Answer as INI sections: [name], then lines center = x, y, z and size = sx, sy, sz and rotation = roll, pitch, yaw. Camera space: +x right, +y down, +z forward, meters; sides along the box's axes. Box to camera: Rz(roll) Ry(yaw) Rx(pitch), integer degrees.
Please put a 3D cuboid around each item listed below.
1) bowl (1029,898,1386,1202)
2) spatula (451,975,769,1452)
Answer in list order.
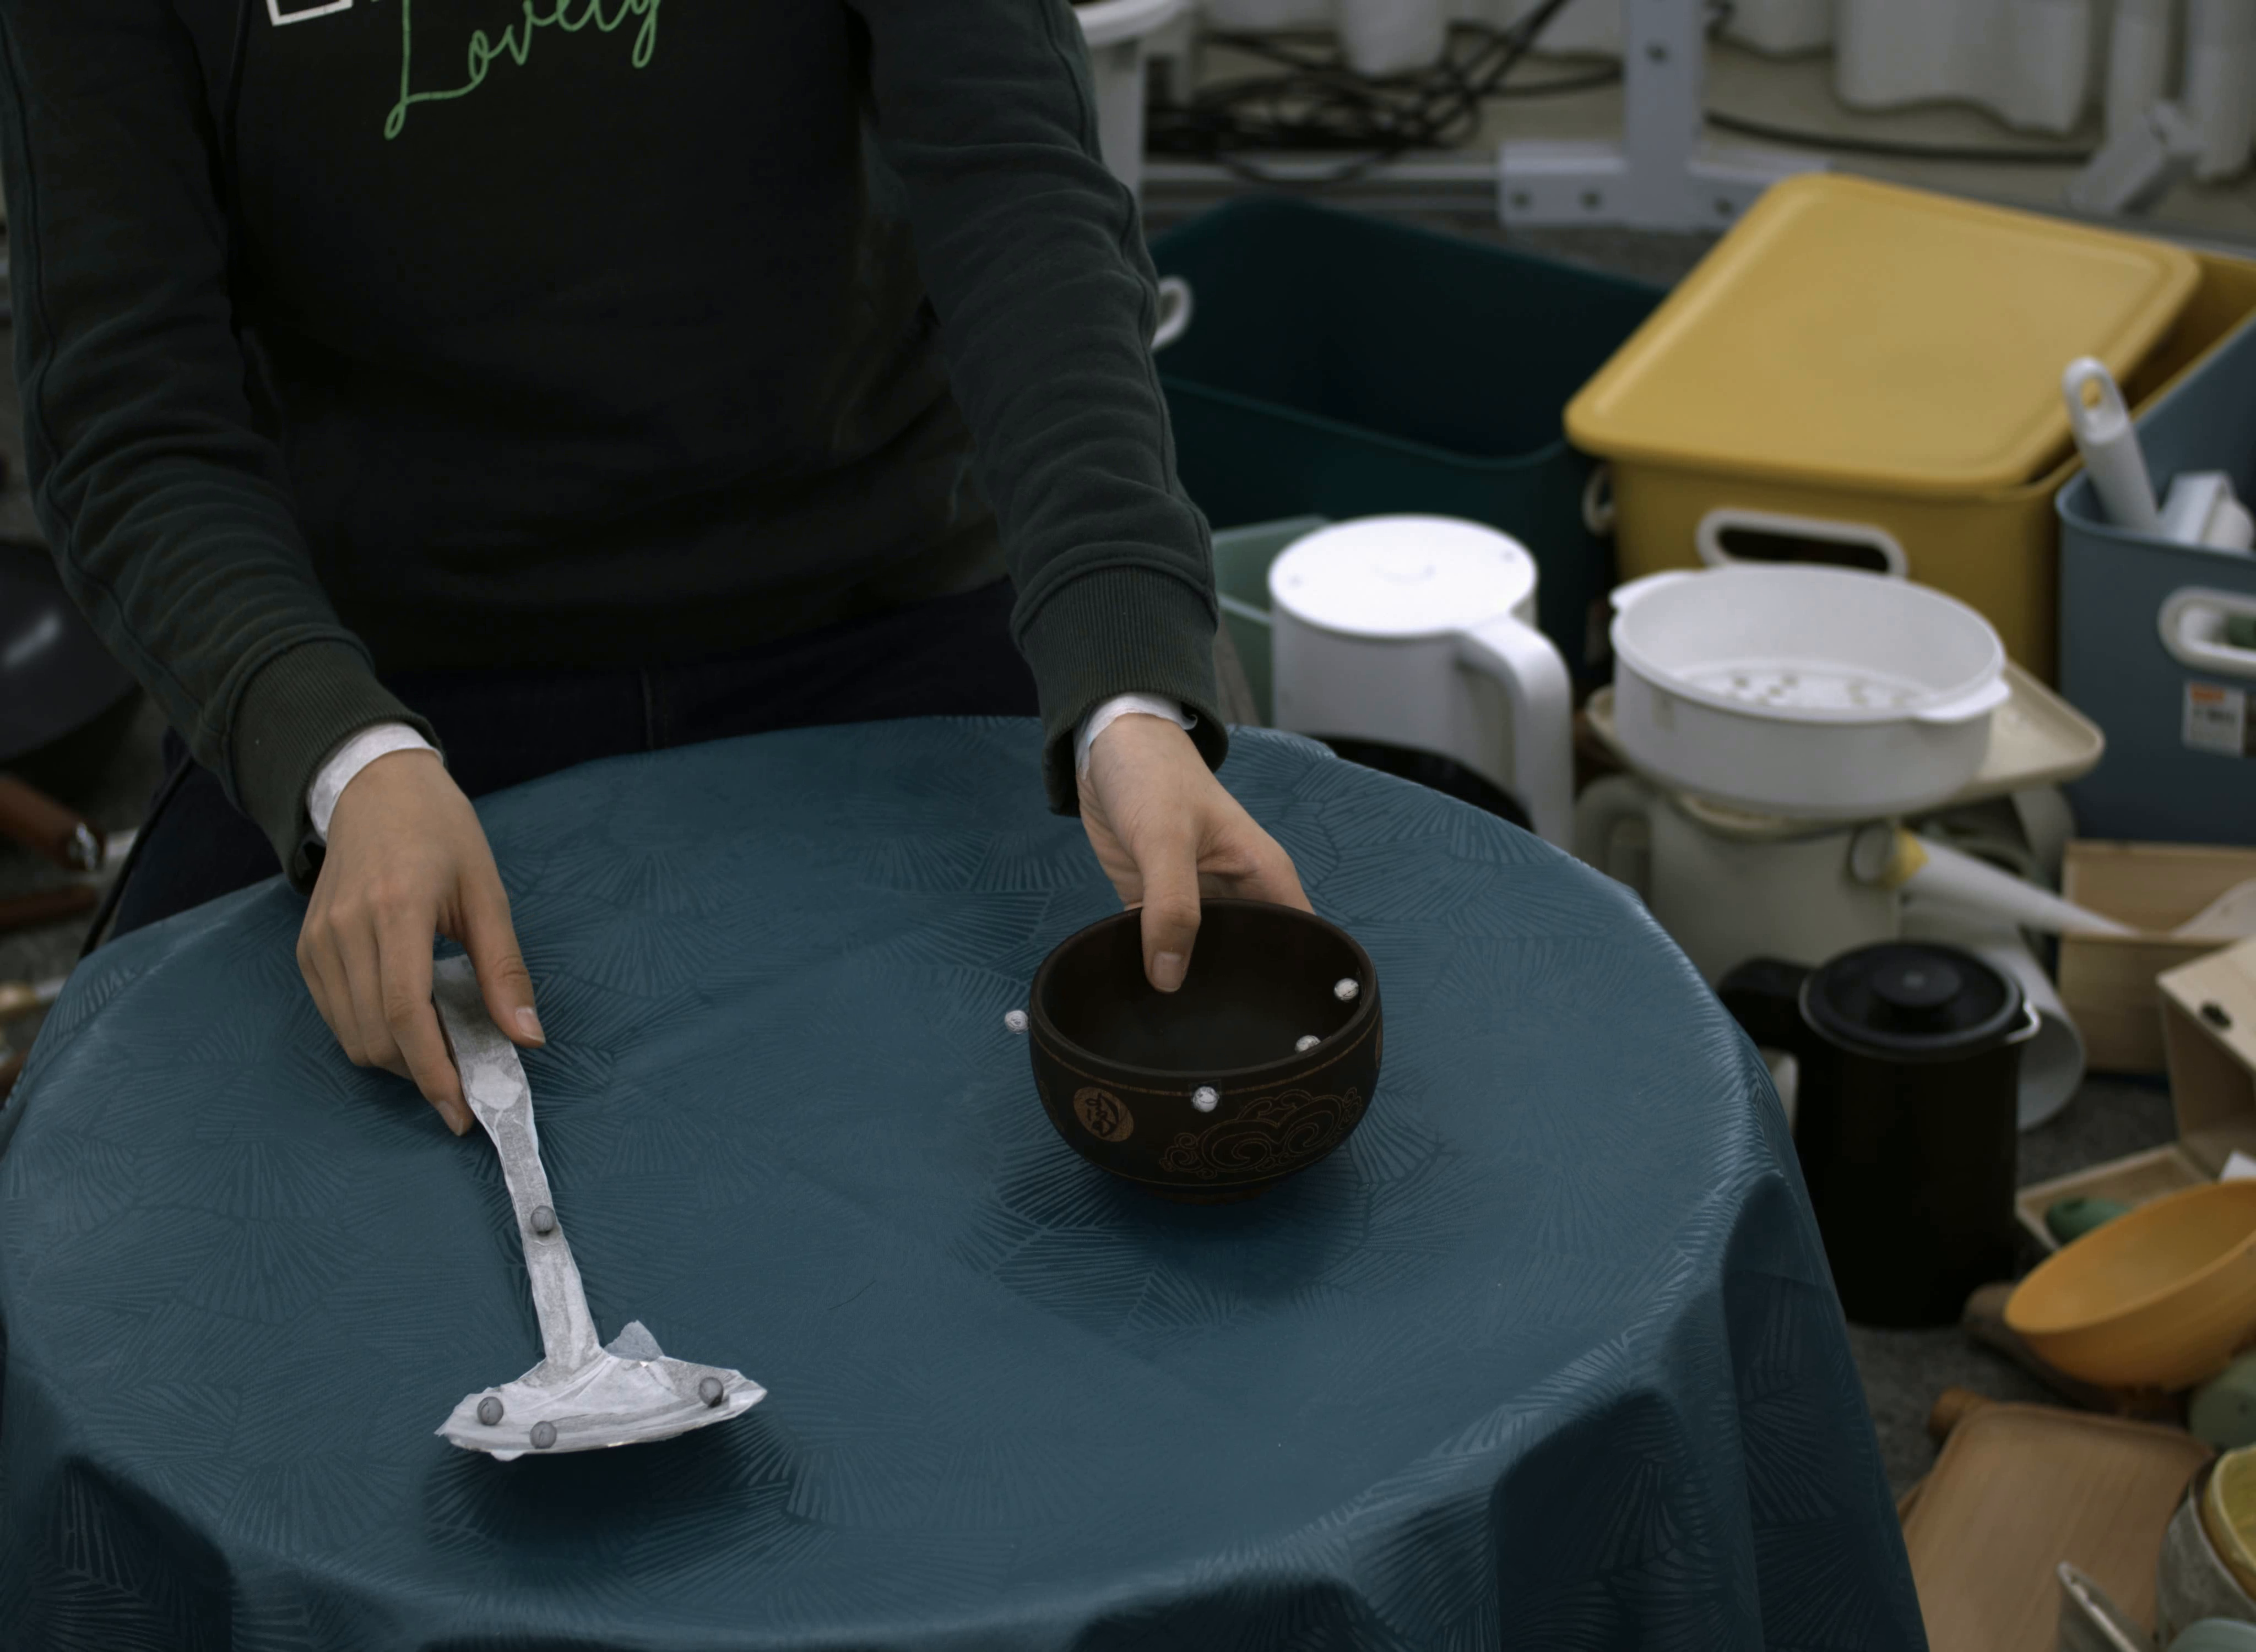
[bowl]
center = 0.027, 0.081, 1.860
size = 0.117, 0.069, 0.120
rotation = -1, 26, 1
[spatula]
center = -0.192, 0.119, 1.842
size = 0.098, 0.044, 0.369
rotation = -9, 28, -10
